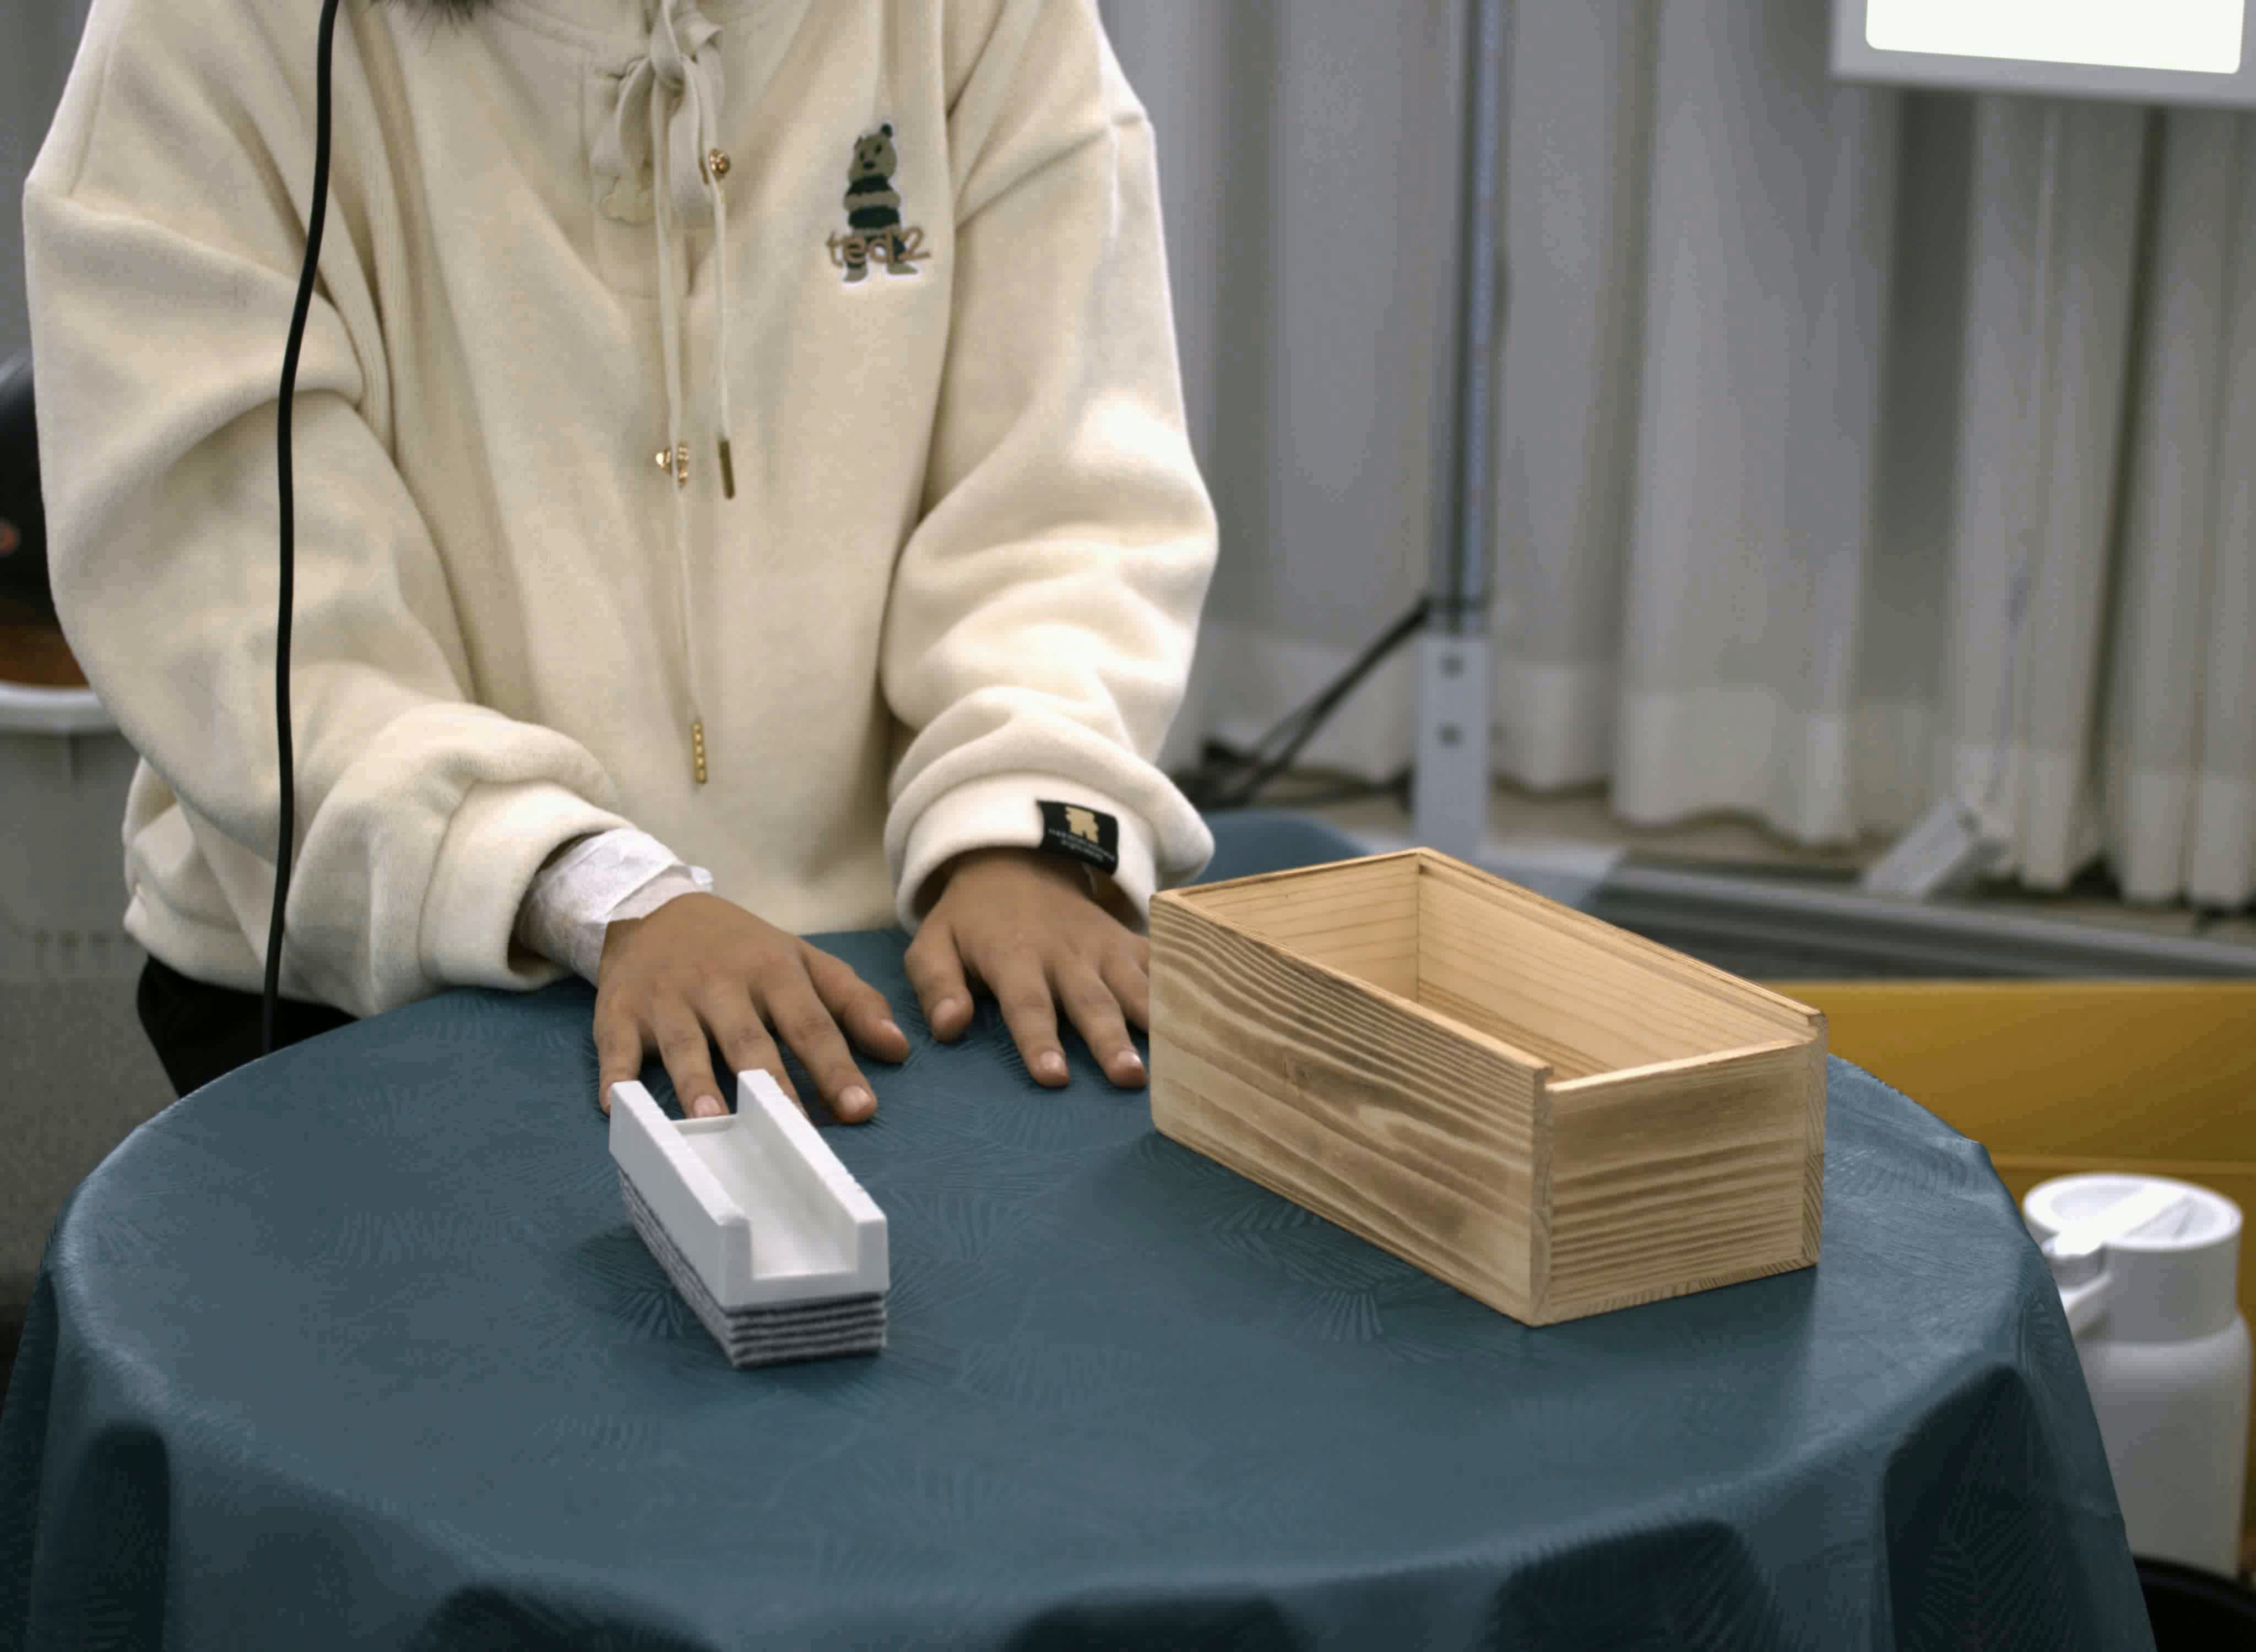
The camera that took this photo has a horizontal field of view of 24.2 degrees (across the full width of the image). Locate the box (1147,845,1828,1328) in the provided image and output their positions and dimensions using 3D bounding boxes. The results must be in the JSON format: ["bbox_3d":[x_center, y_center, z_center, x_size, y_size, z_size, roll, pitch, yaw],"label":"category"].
[{"bbox_3d":[0.105,0.075,1.610,0.108,0.081,0.208,-9,19,-31],"label":"box"}]

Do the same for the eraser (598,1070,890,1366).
[{"bbox_3d":[-0.113,0.112,1.529,0.050,0.047,0.133,-8,19,-20],"label":"eraser"}]
